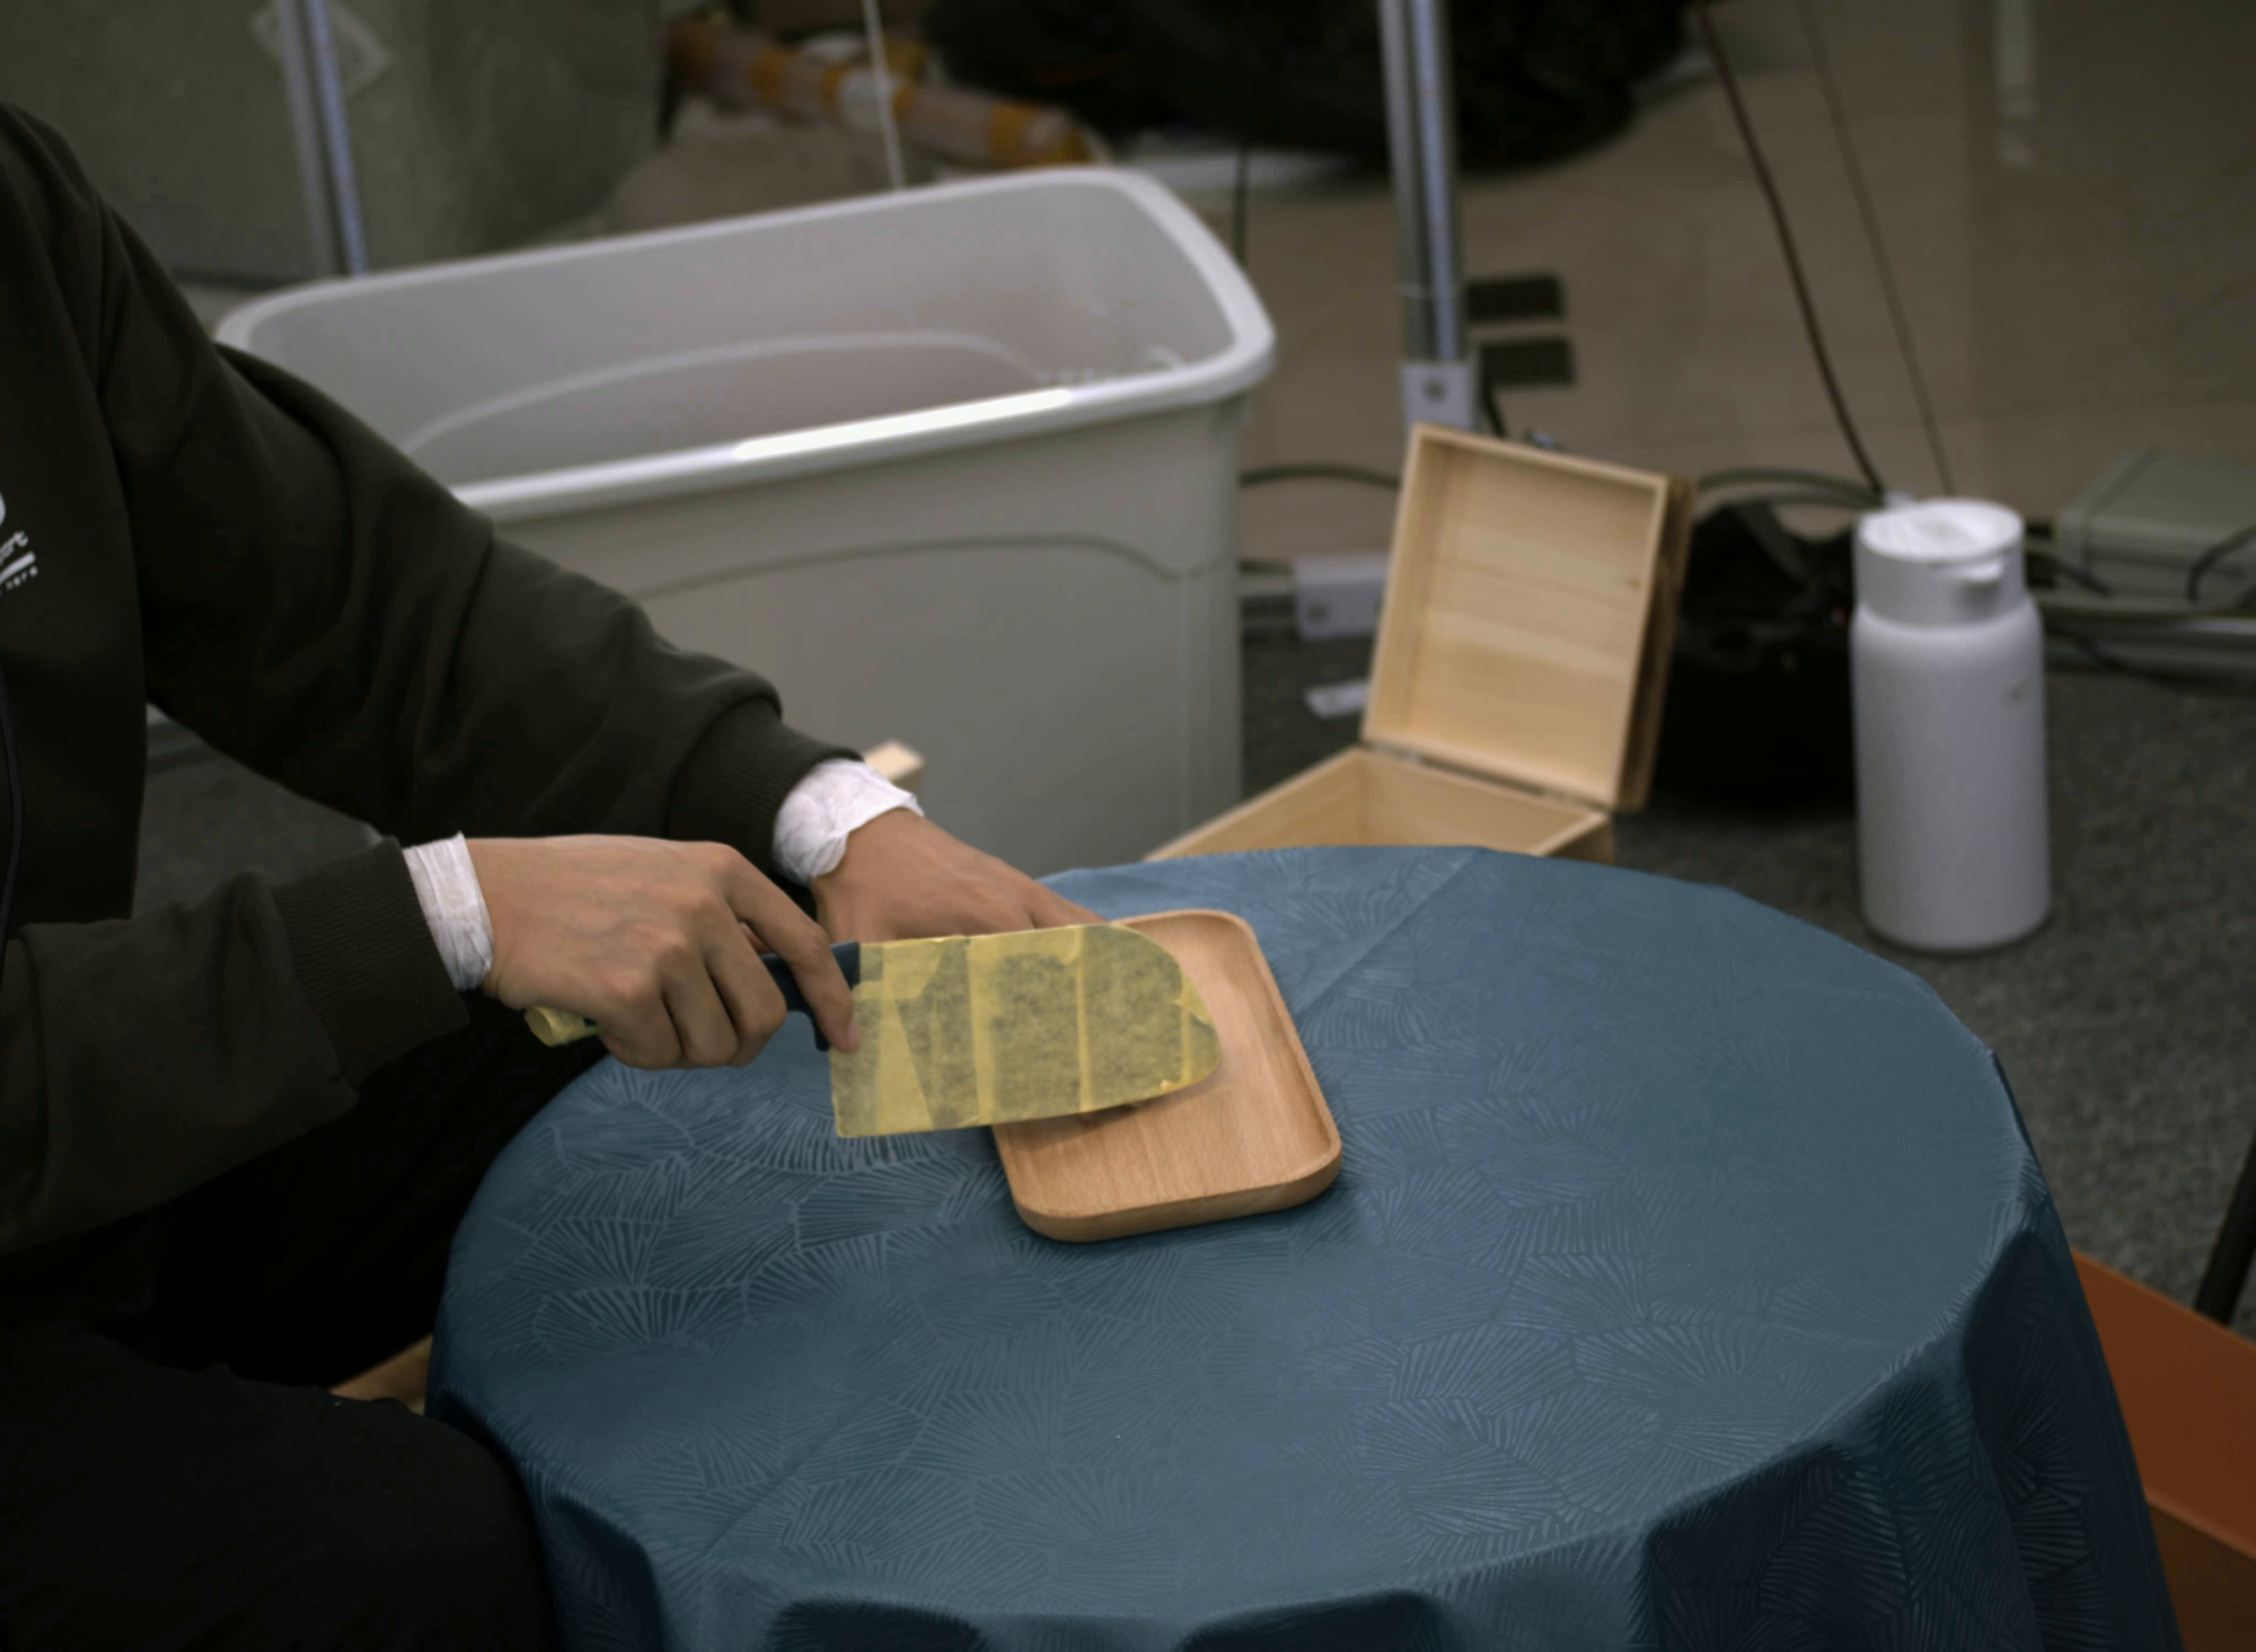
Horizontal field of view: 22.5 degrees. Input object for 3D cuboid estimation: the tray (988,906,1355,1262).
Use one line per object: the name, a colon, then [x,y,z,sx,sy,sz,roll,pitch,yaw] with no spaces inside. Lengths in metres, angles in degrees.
tray: [0.007,0.099,2.227,0.130,0.023,0.247,-12,28,-4]

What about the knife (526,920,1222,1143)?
knife: [-0.091,0.078,2.136,0.289,0.081,0.027,-2,2,-28]
